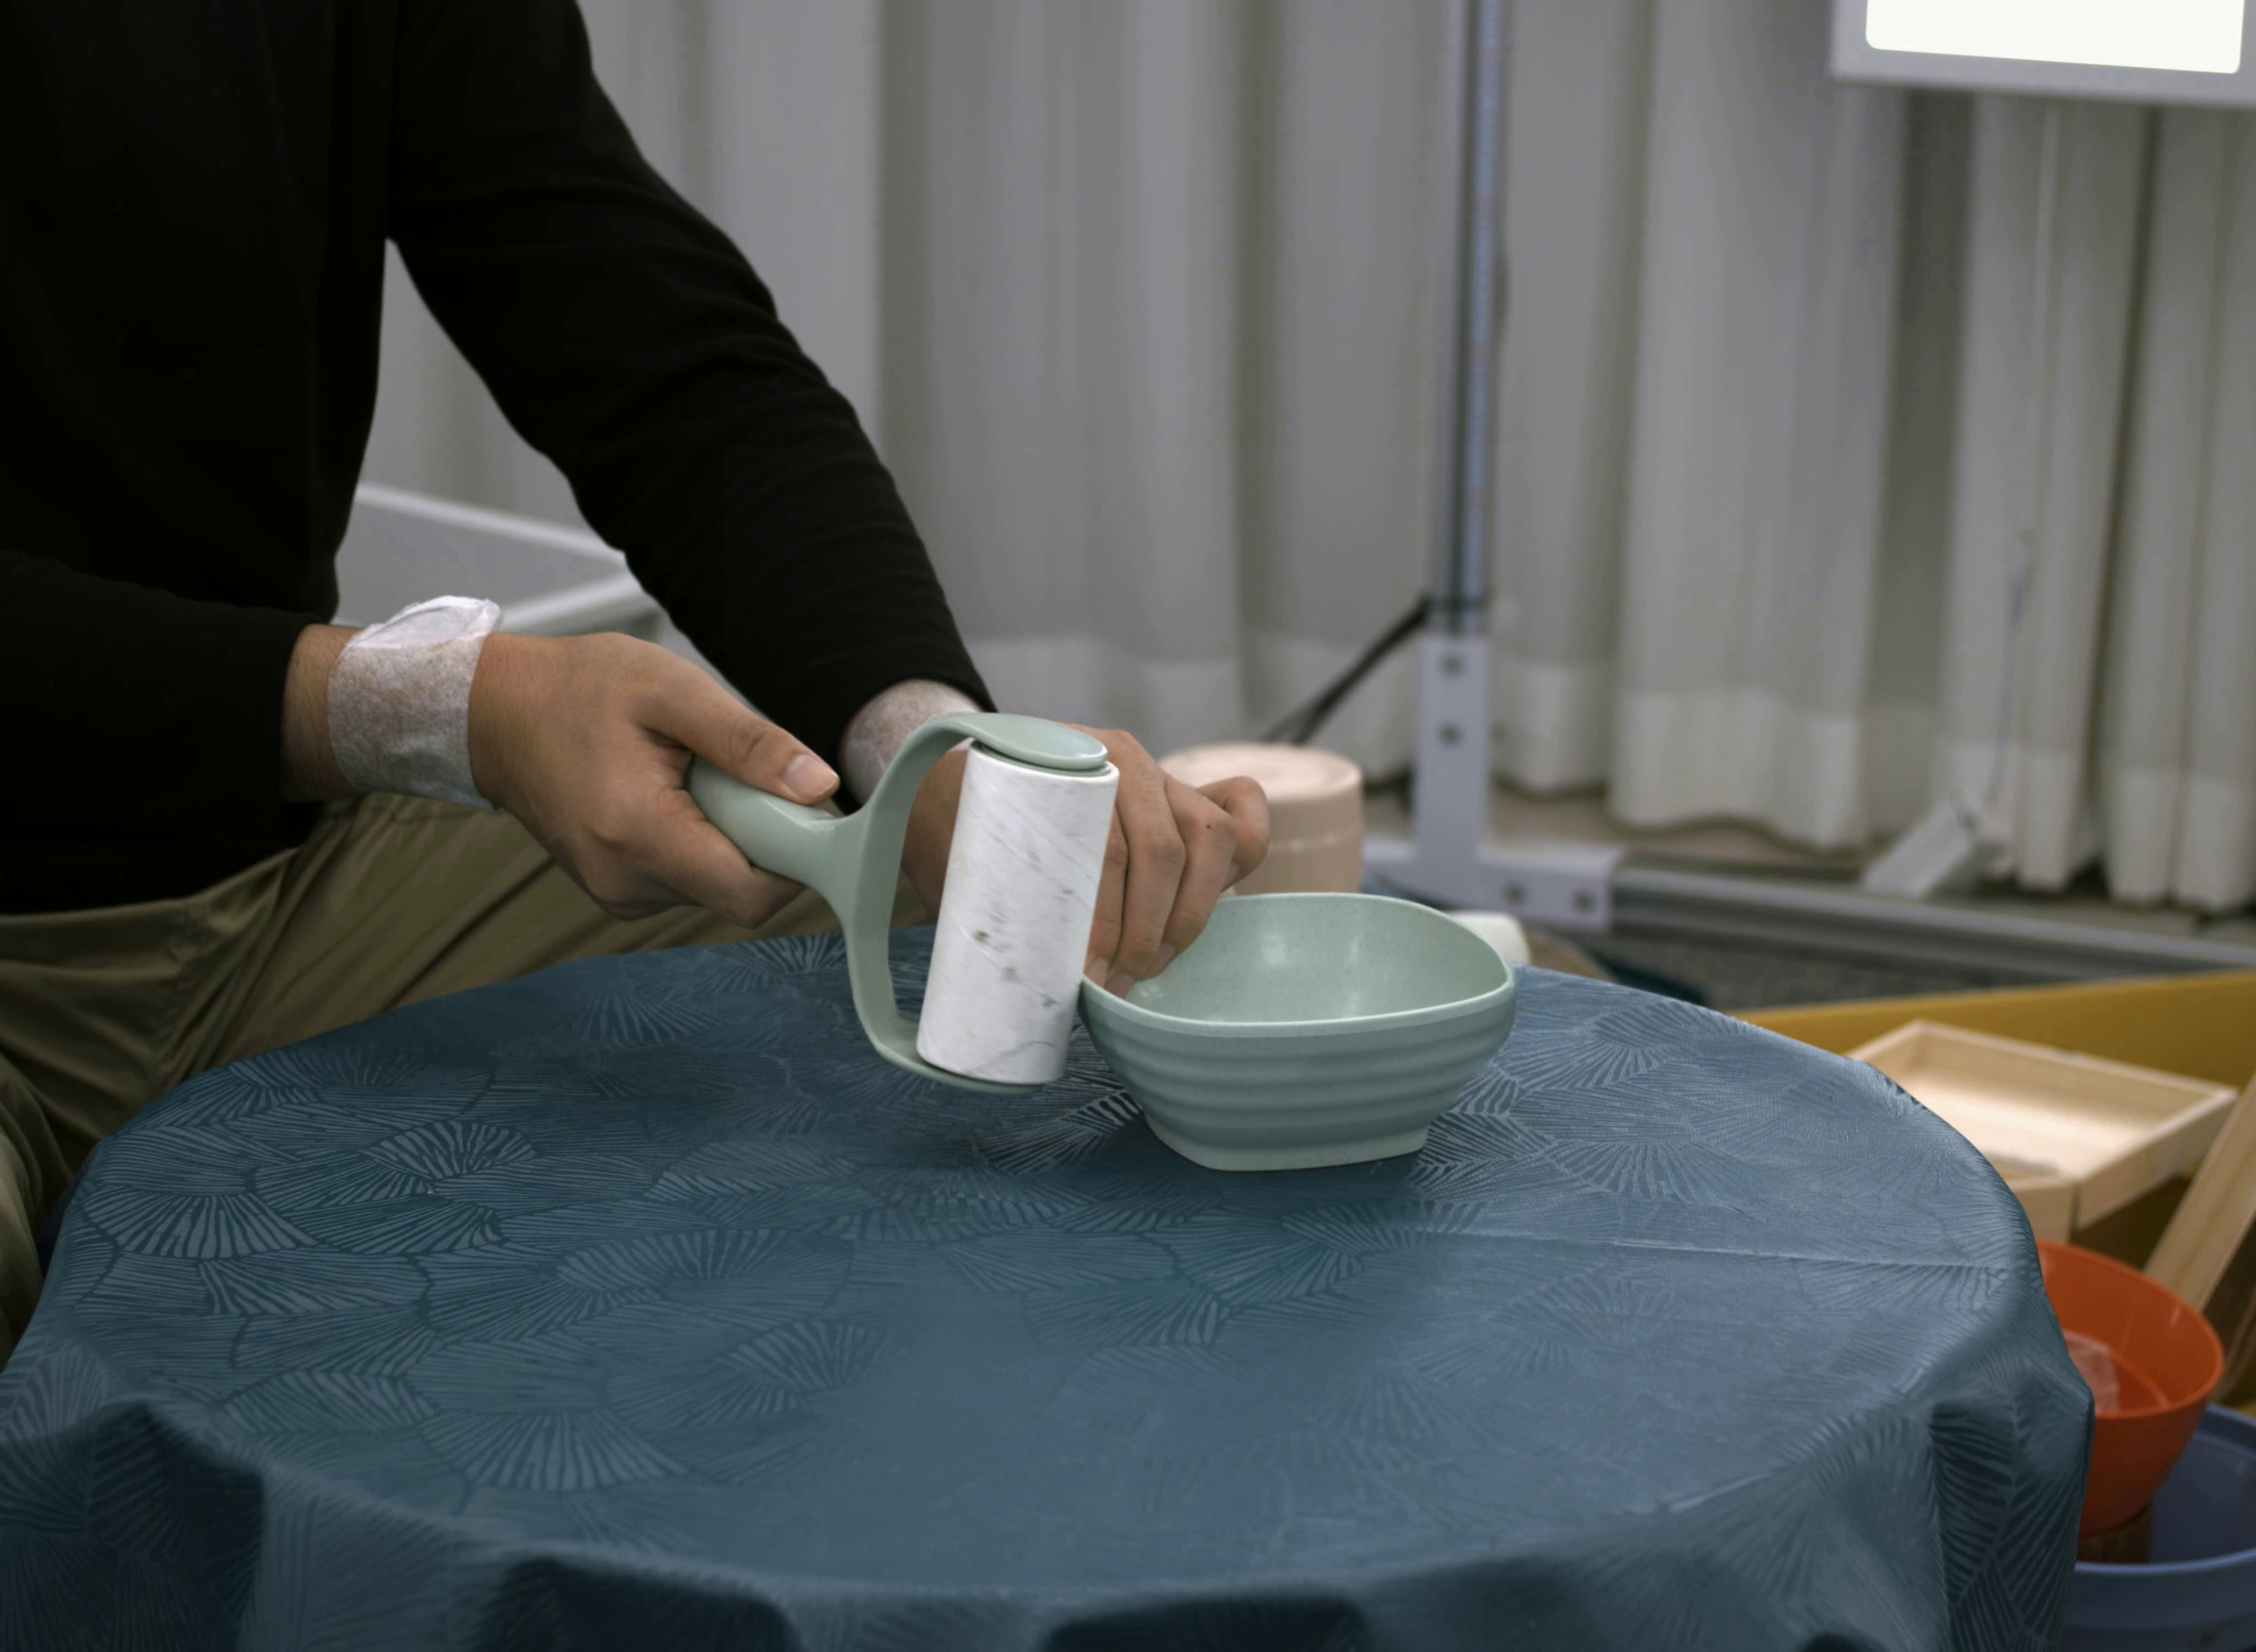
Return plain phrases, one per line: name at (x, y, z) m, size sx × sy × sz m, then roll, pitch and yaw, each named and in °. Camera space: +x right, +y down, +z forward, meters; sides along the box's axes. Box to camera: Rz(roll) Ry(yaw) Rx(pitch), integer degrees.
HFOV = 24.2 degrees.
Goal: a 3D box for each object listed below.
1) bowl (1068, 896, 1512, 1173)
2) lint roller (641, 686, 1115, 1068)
bowl at (0.048, 0.069, 1.674) m, size 0.151 × 0.059 × 0.150 m, roll 2°, pitch 16°, yaw 0°
lint roller at (-0.091, -0.002, 1.673) m, size 0.195 × 0.117 × 0.049 m, roll 19°, pitch 17°, yaw 34°
